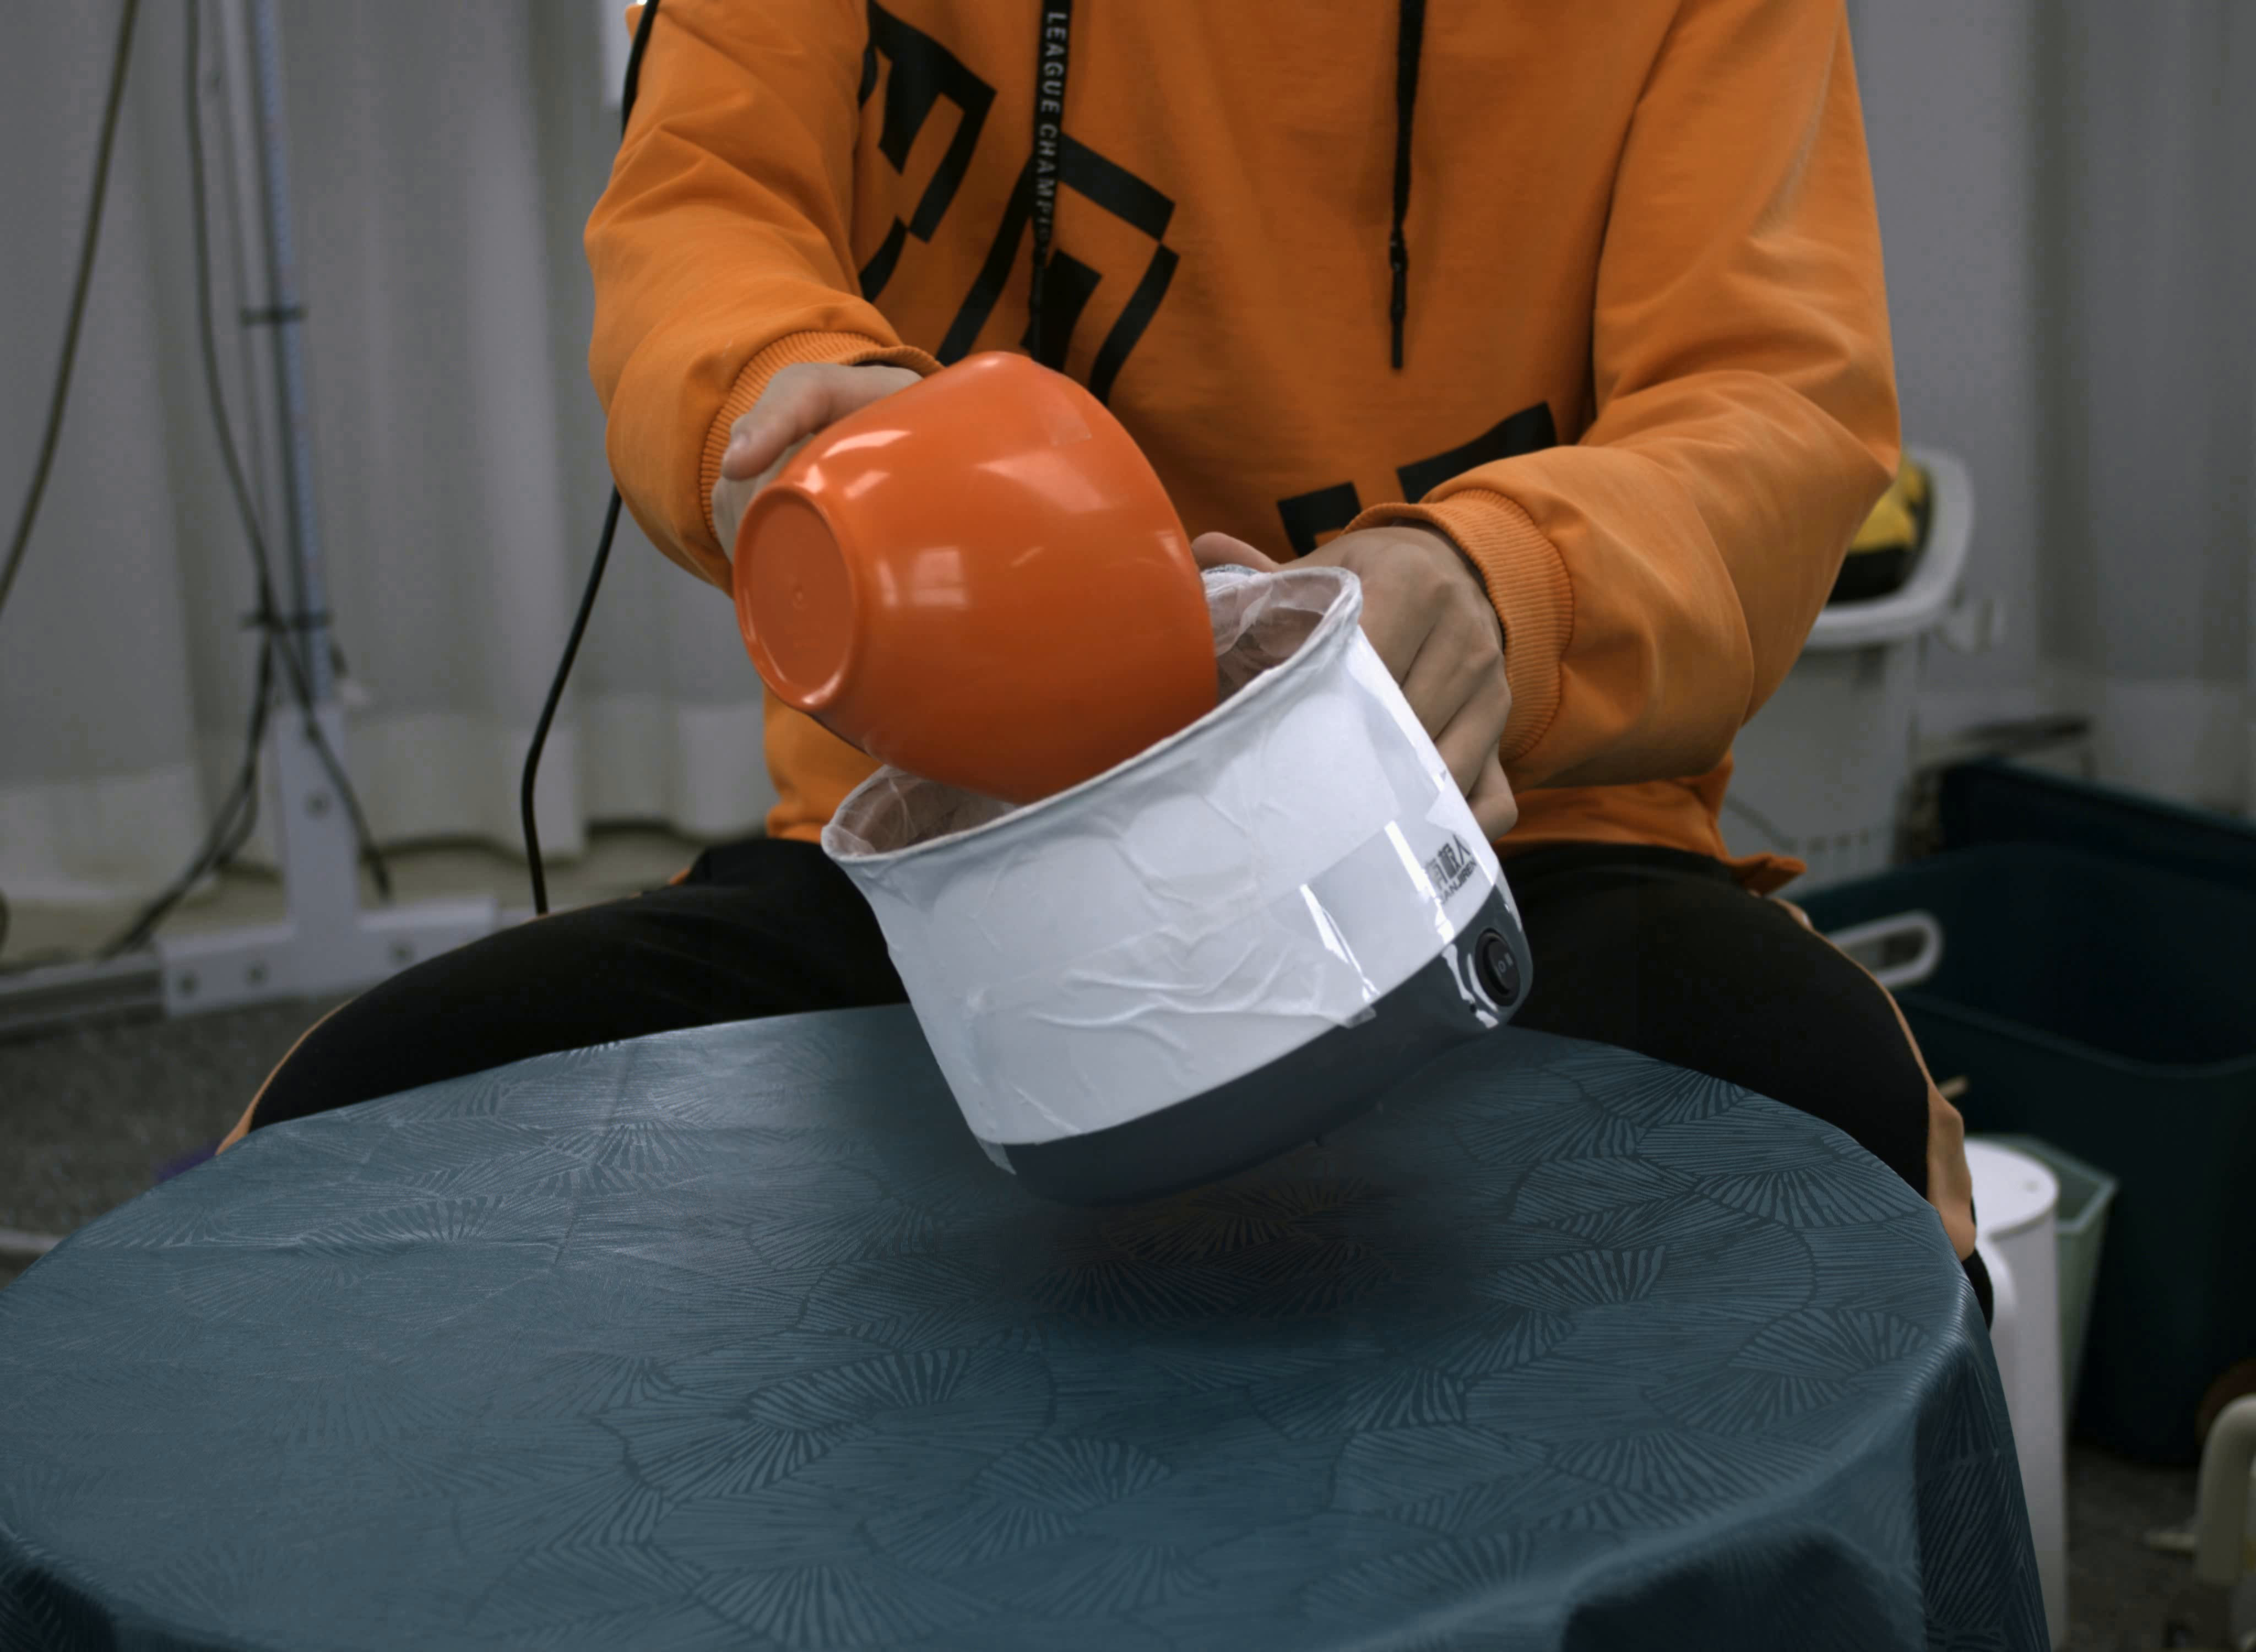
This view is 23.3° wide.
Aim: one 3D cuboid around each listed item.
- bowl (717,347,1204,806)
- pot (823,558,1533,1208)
[{"bbox_3d":[-0.057,-0.063,1.598,0.104,0.147,0.149,-10,16,-35],"label":"bowl"},{"bbox_3d":[0.027,0.008,1.644,0.178,0.136,0.235,-18,16,31],"label":"pot"}]
